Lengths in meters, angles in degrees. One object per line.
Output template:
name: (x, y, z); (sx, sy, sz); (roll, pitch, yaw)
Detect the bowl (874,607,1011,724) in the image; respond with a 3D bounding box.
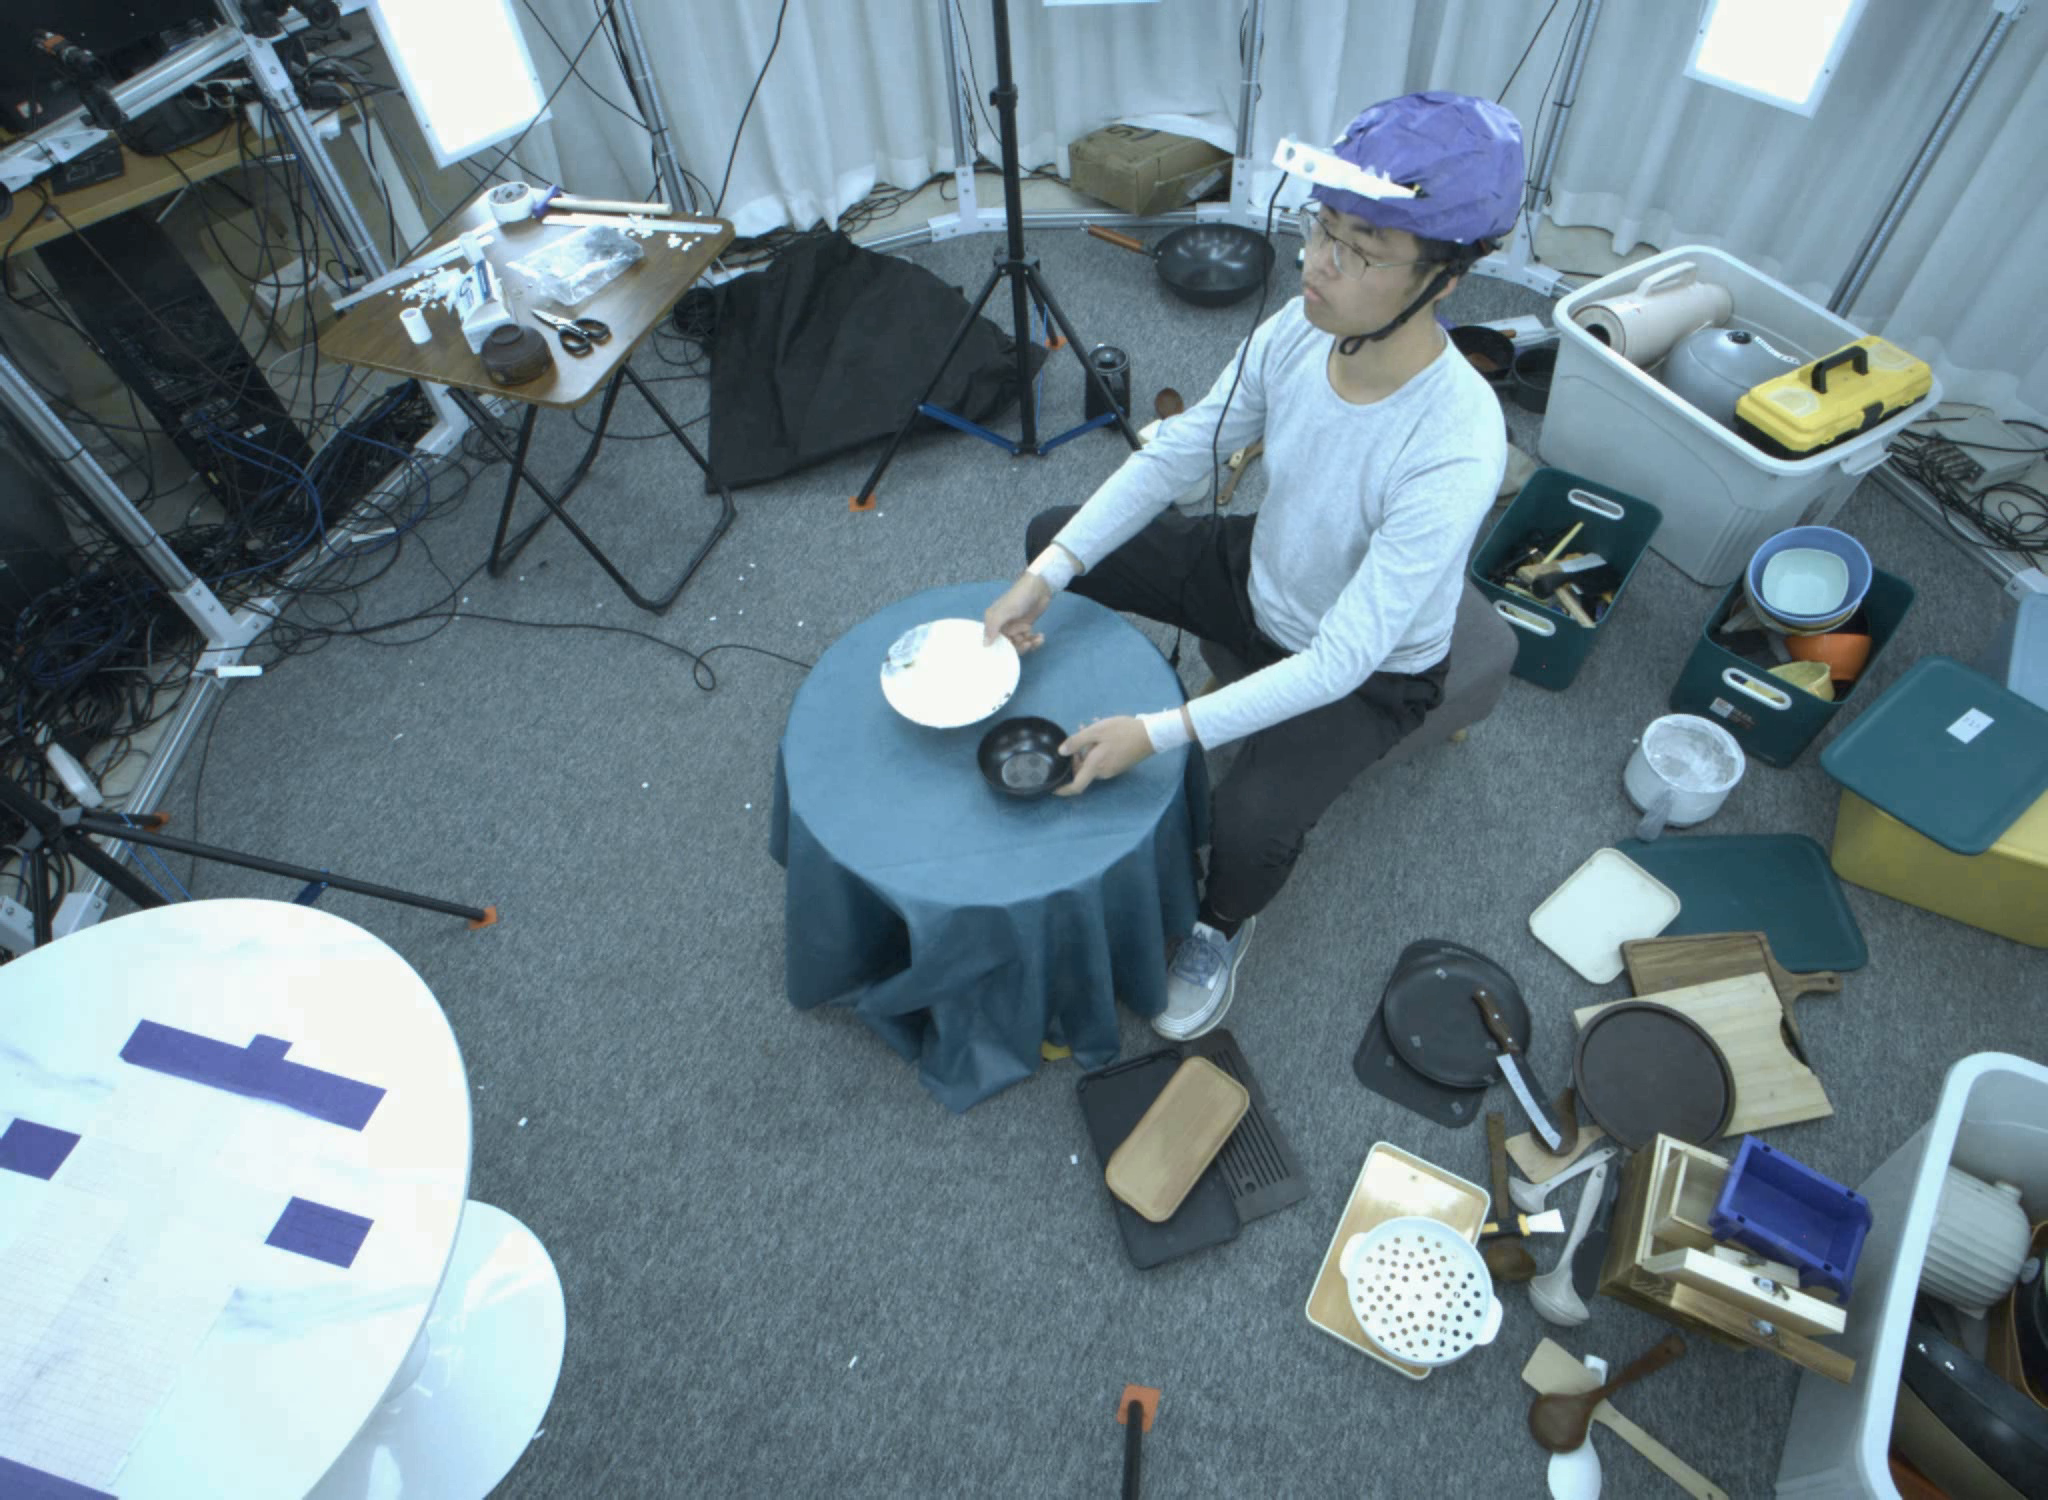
bowl: (-0.114, -0.107, 1.810); (0.203, 0.079, 0.202); (-3, 60, 7)

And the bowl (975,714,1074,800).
bowl: (0.001, 0.018, 1.752); (0.140, 0.050, 0.138); (1, 56, 0)
